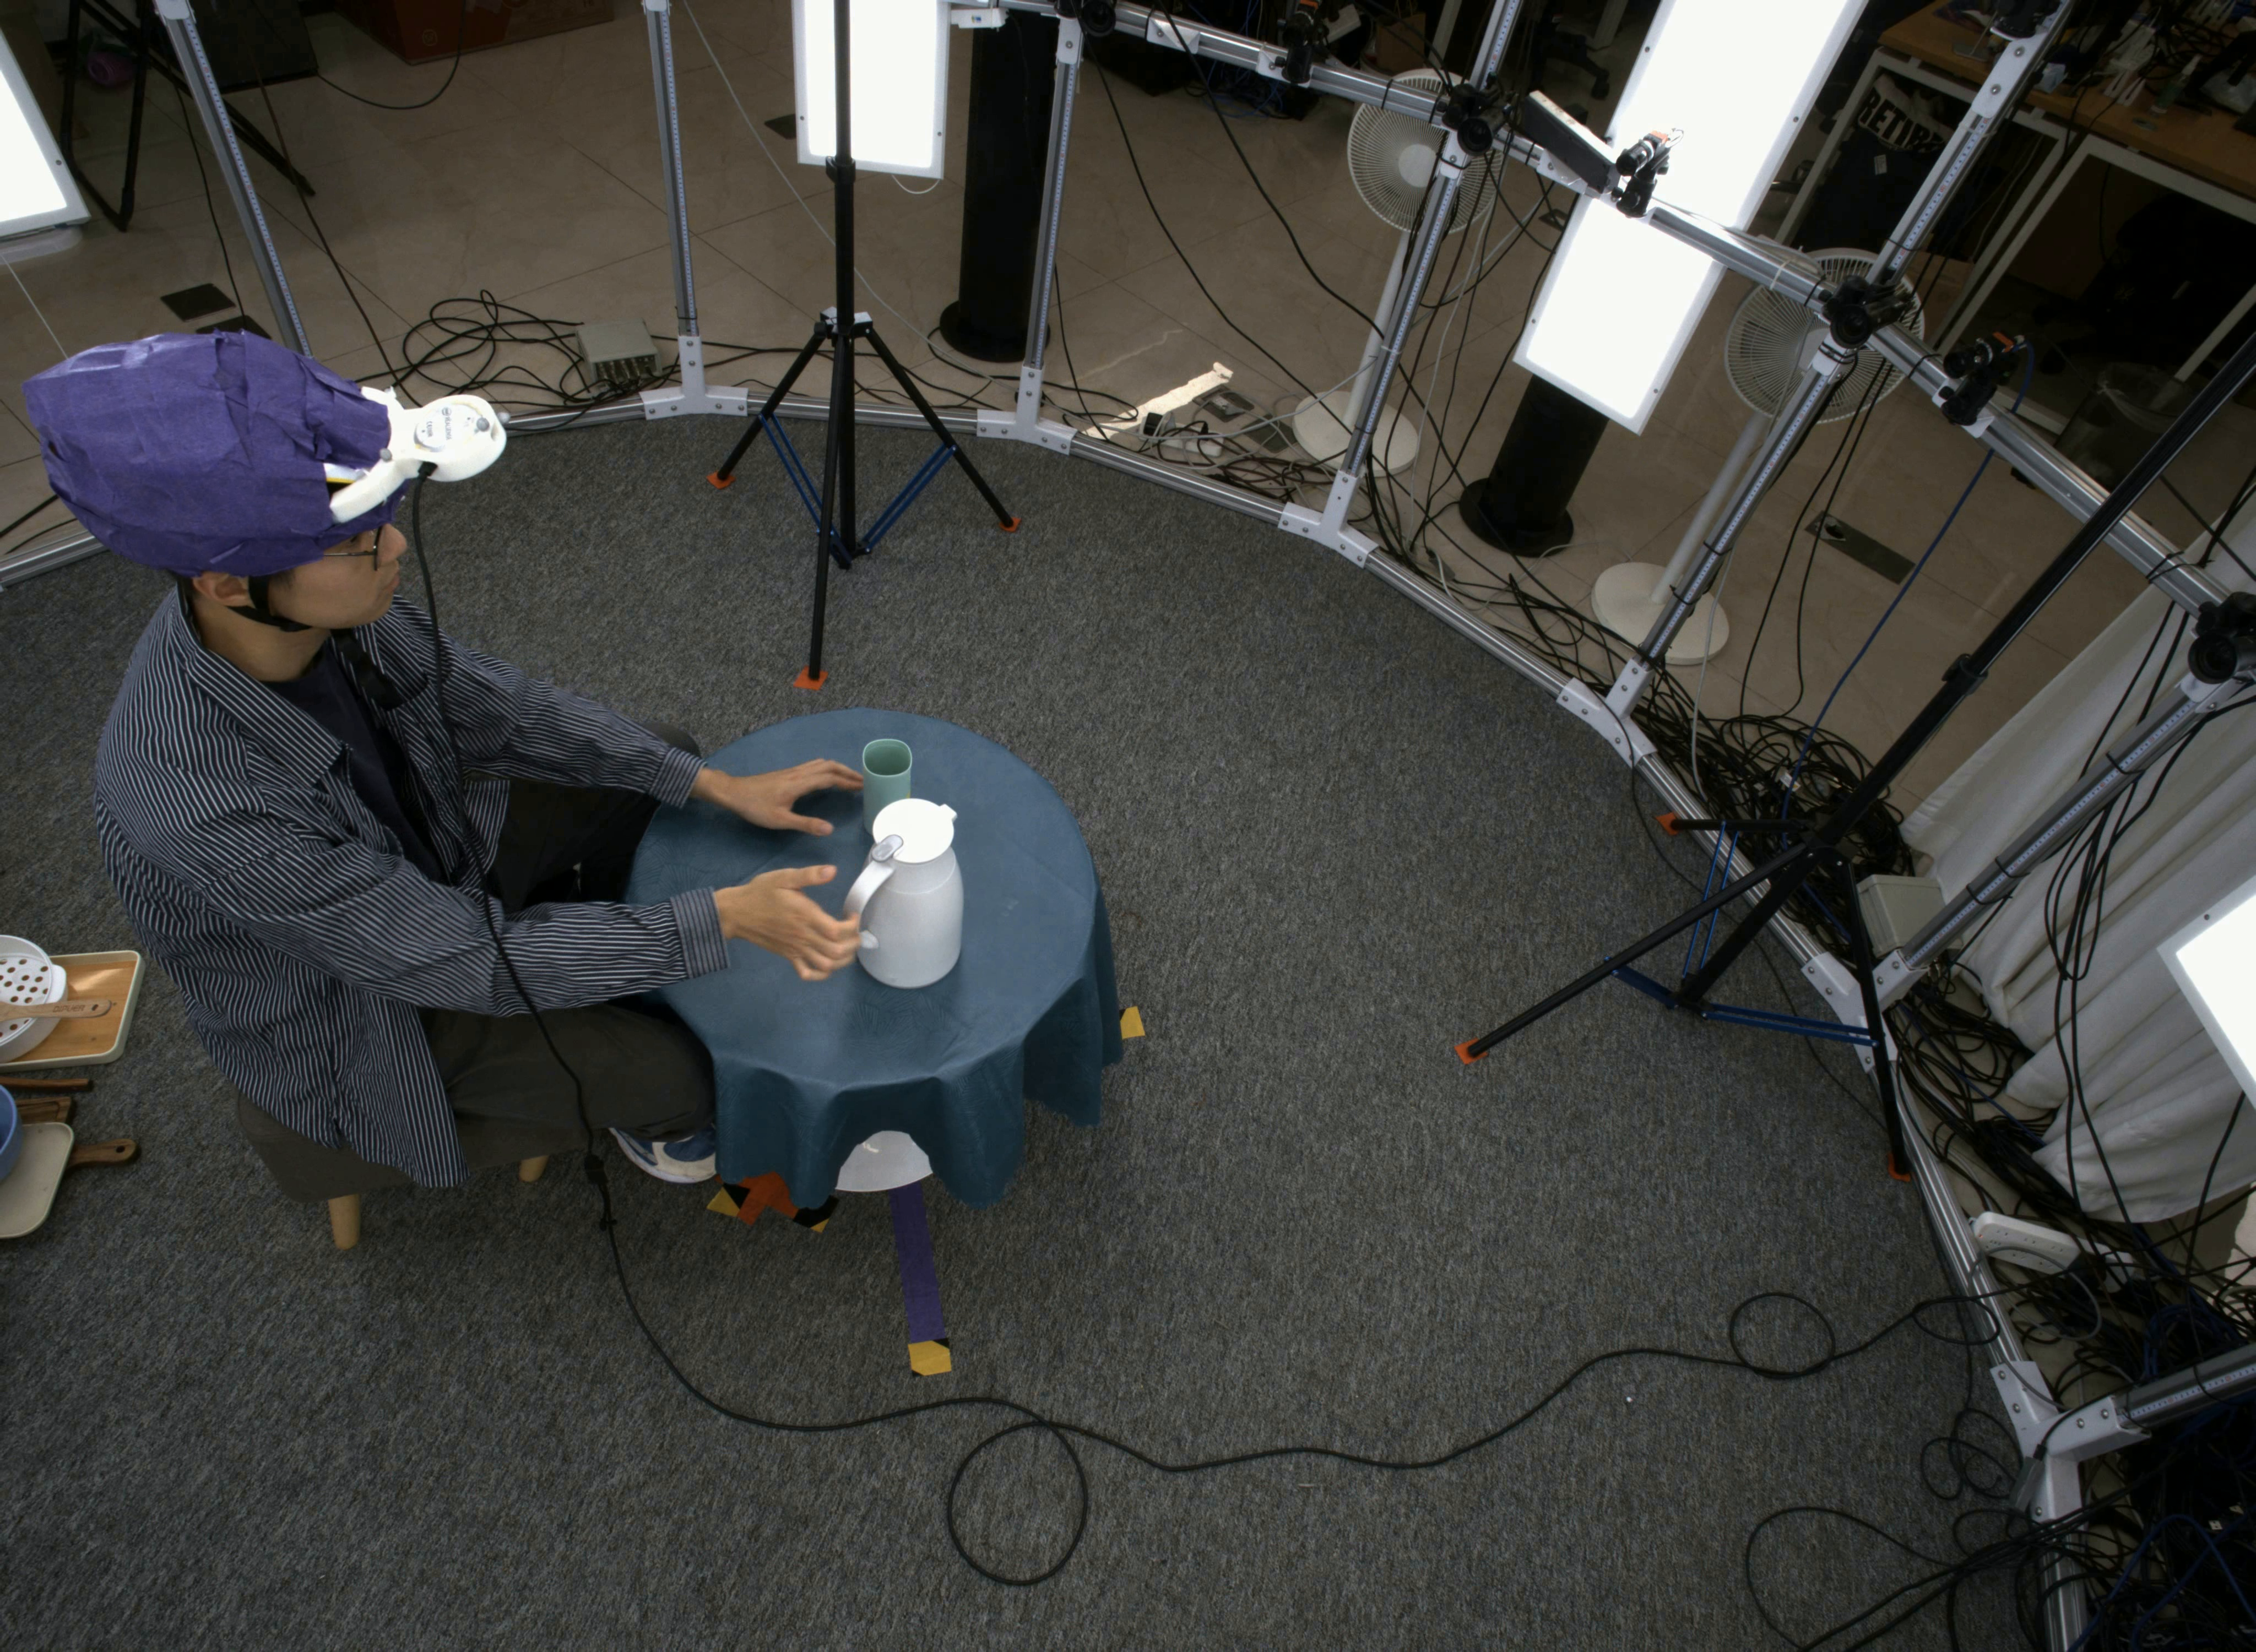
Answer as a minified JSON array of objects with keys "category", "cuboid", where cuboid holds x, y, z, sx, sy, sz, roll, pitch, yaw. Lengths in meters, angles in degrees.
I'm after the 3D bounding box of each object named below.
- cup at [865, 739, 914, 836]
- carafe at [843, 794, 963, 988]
[{"category":"cup","cuboid":[-0.318,-0.047,1.720,0.066,0.135,0.065,7,51,-7]},{"category":"carafe","cuboid":[-0.272,0.084,1.550,0.130,0.254,0.167,34,55,15]}]
